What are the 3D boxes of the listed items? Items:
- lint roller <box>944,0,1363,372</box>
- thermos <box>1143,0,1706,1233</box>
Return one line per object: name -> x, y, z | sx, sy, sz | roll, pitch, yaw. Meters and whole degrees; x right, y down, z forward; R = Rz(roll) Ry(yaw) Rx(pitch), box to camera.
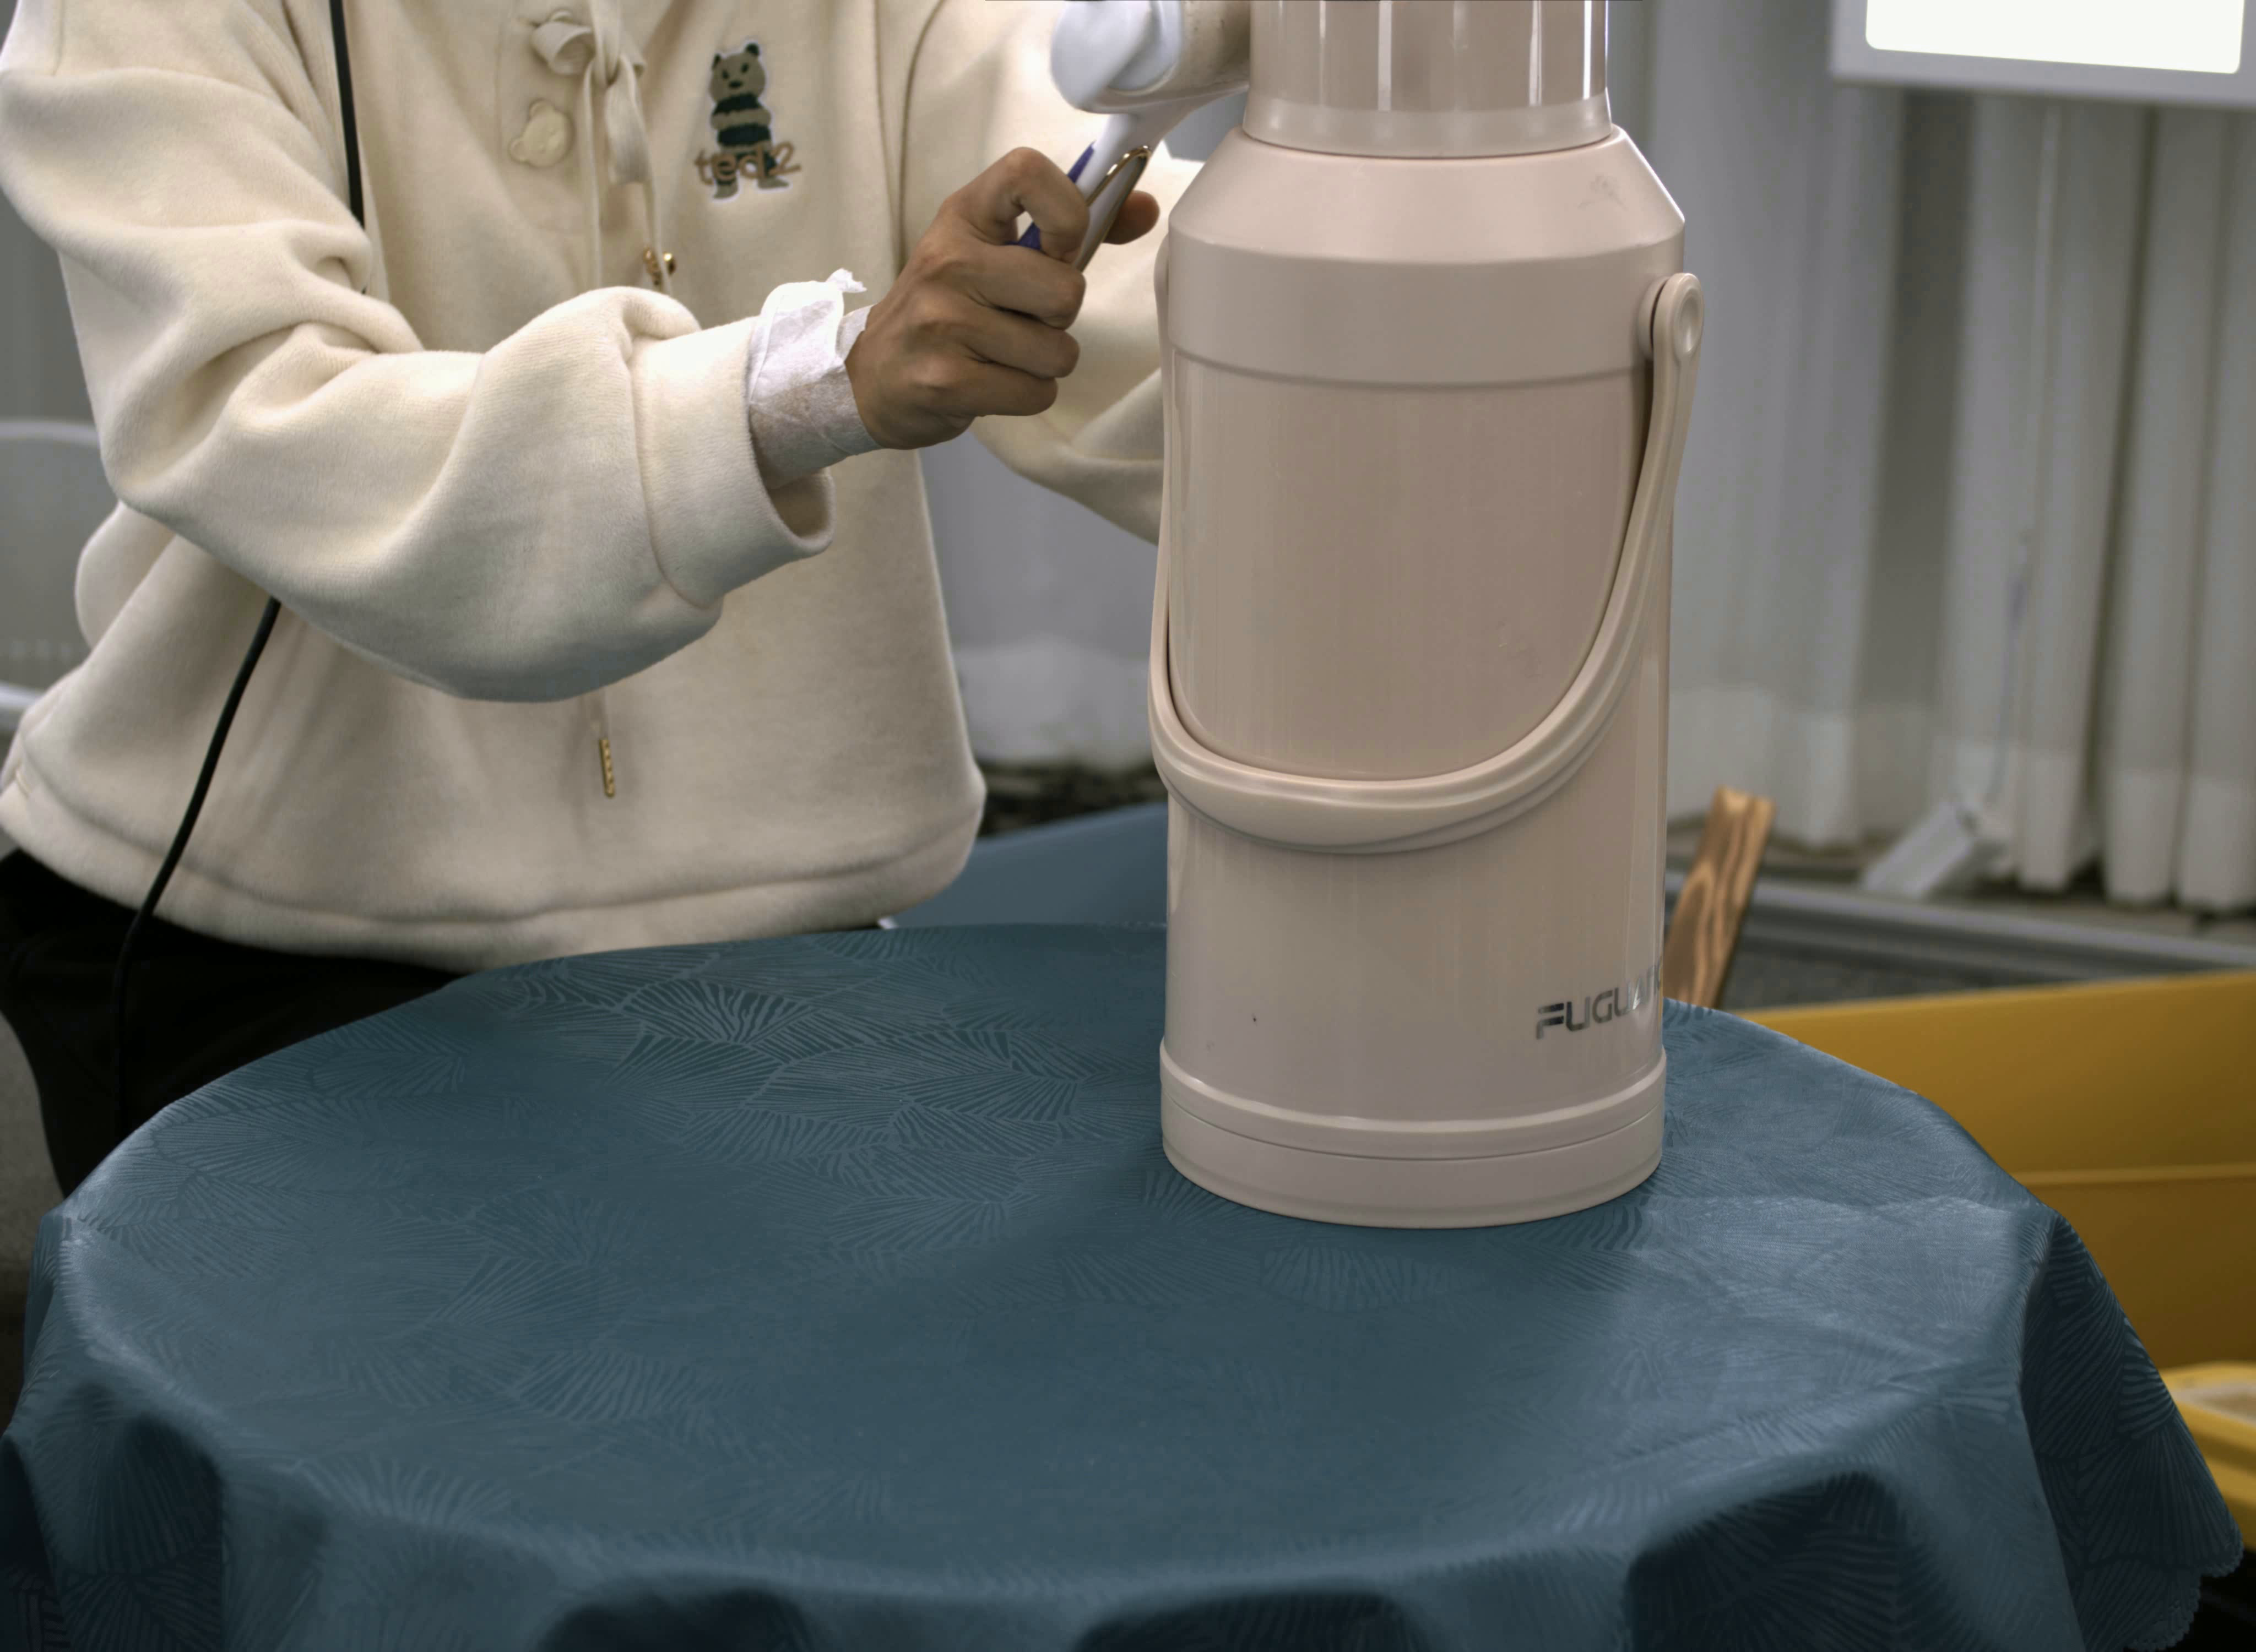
lint roller -> -0.010, -0.215, 1.652 | 0.133, 0.181, 0.050 | -21, 72, -52
thermos -> 0.097, -0.092, 1.619 | 0.173, 0.409, 0.207 | 9, 18, 28
